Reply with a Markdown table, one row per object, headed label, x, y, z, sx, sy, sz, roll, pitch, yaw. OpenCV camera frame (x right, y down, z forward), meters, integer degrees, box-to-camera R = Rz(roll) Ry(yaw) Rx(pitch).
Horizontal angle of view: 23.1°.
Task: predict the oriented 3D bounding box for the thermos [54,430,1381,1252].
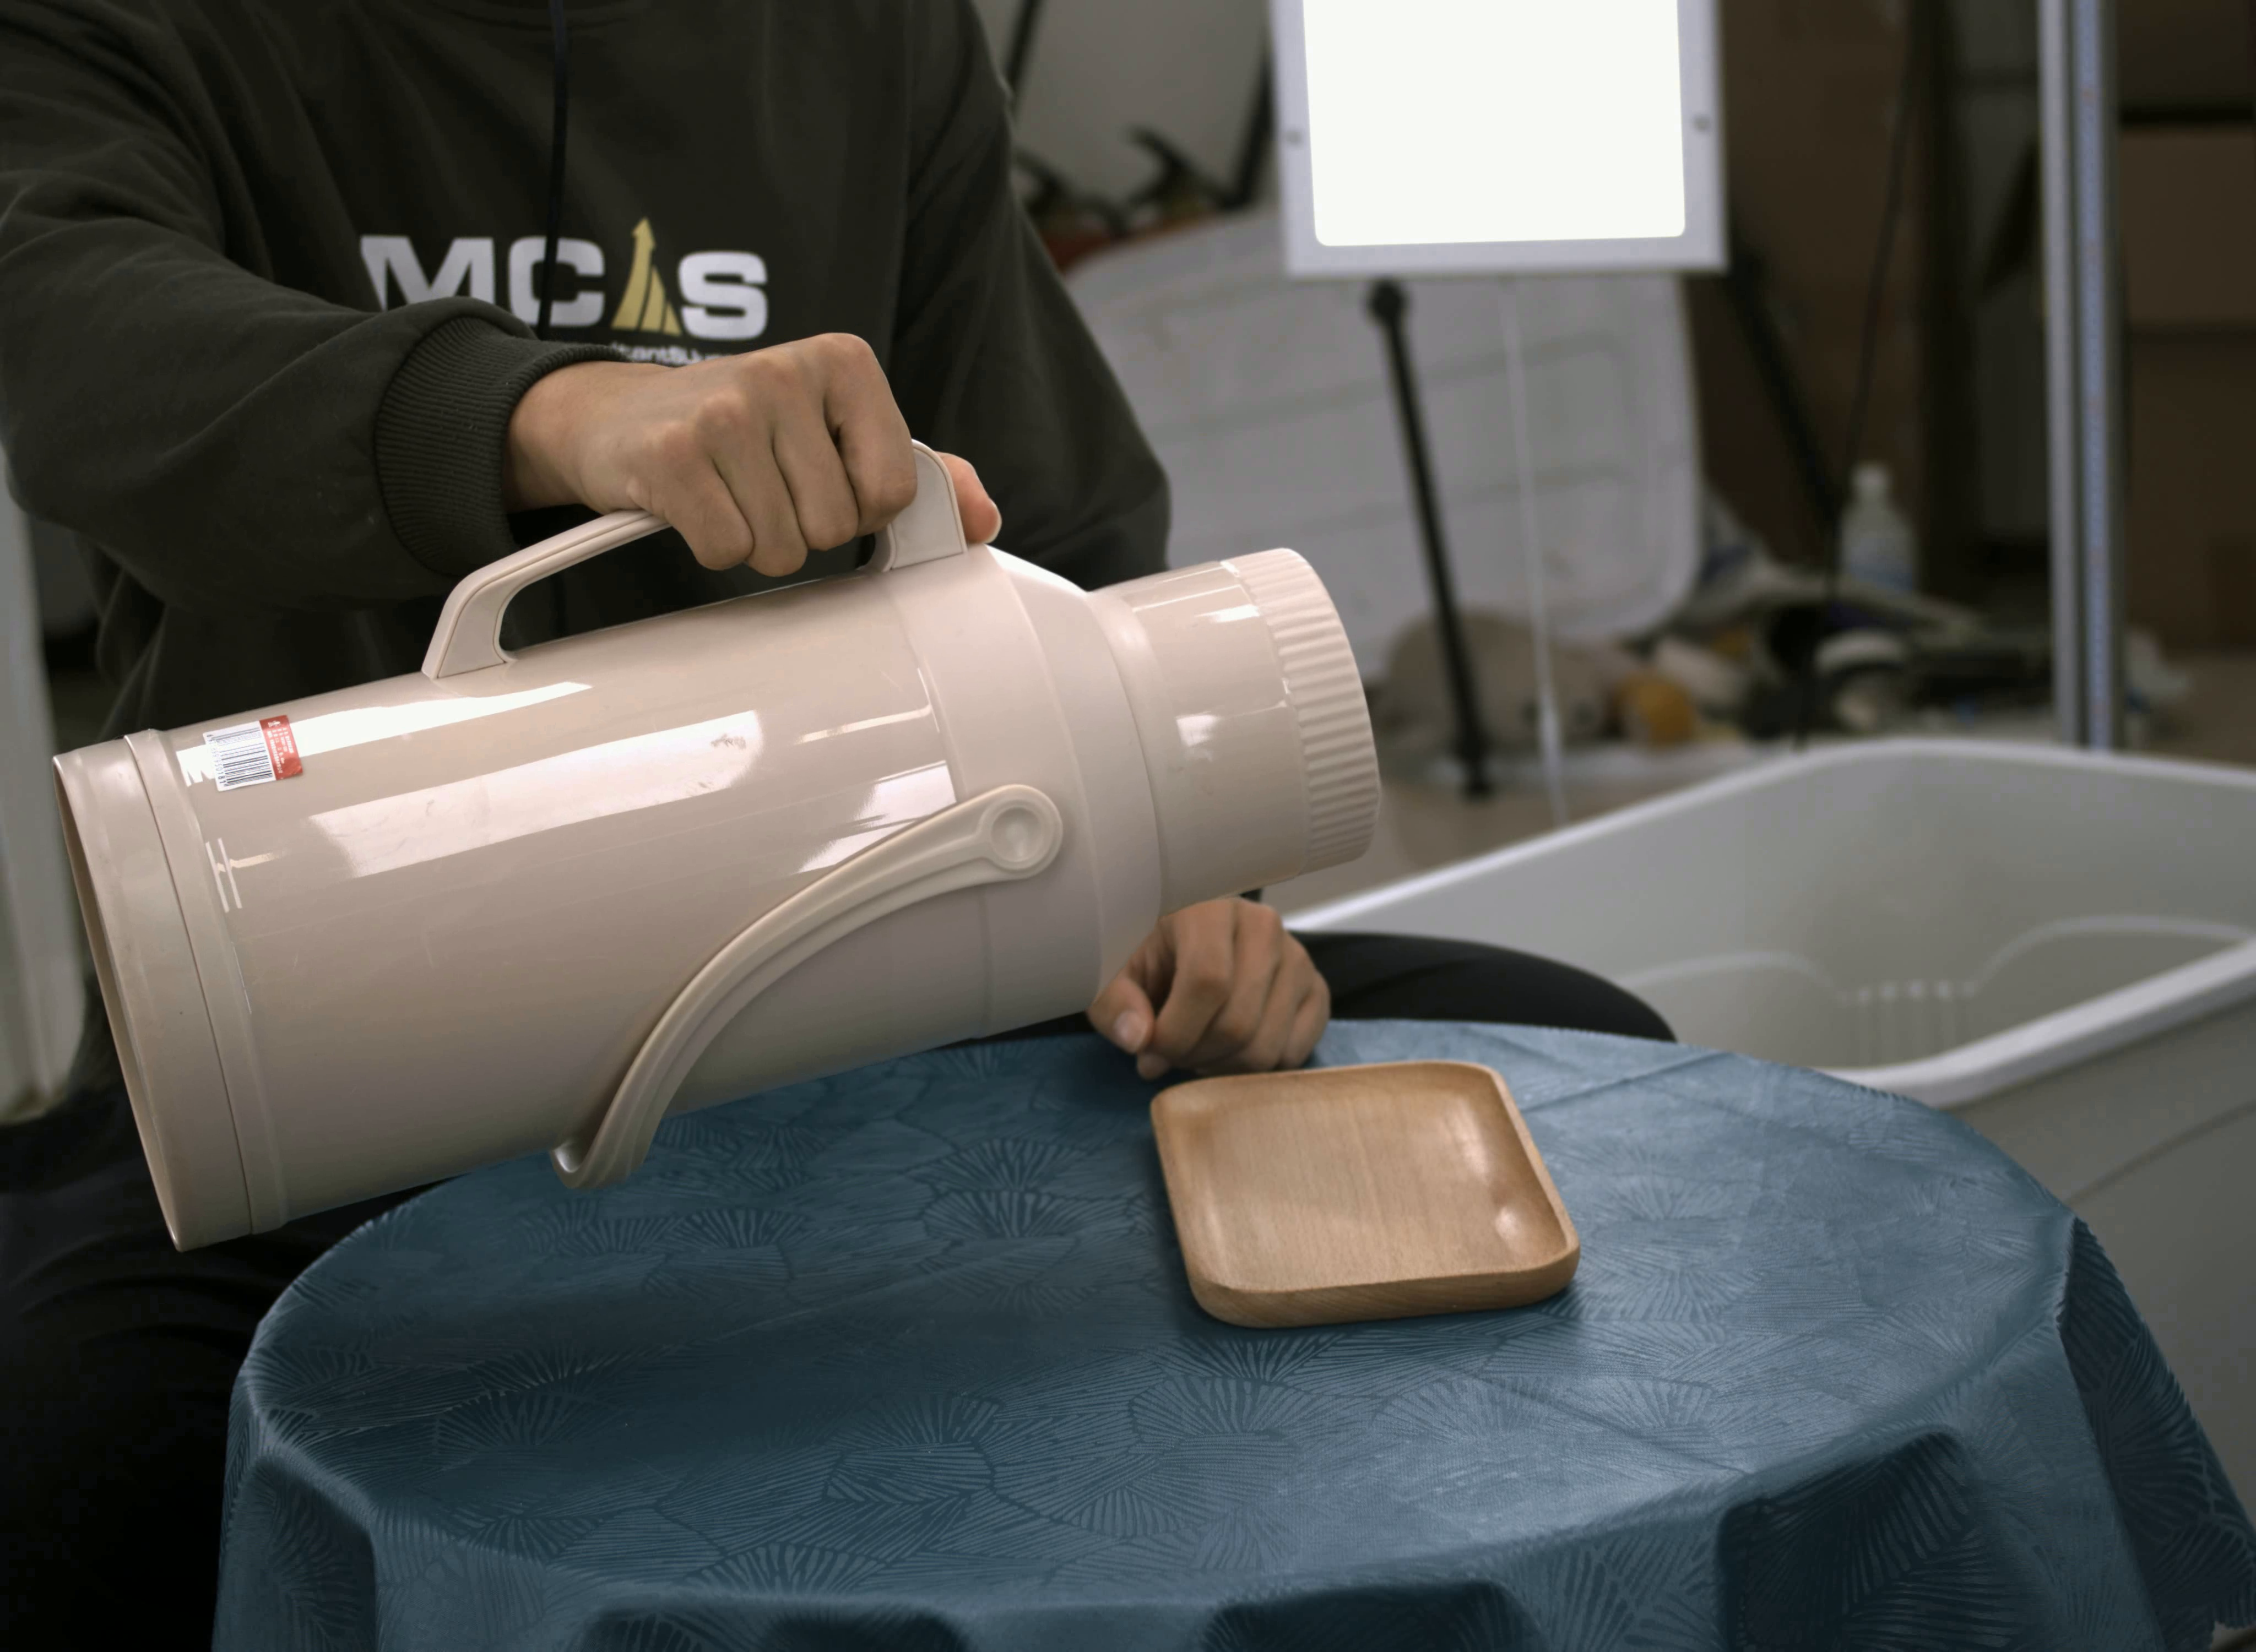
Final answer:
| label | x | y | z | sx | sy | sz | roll | pitch | yaw |
| --- | --- | --- | --- | --- | --- | --- | --- | --- | --- |
| thermos | -0.129 | -0.007 | 1.744 | 0.402 | 0.207 | 0.176 | -14 | 12 | -9 |

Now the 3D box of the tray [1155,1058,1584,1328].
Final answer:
| label | x | y | z | sx | sy | sz | roll | pitch | yaw |
| --- | --- | --- | --- | --- | --- | --- | --- | --- | --- |
| tray | 0.078 | 0.122 | 1.858 | 0.130 | 0.023 | 0.250 | -3 | 13 | -1 |
